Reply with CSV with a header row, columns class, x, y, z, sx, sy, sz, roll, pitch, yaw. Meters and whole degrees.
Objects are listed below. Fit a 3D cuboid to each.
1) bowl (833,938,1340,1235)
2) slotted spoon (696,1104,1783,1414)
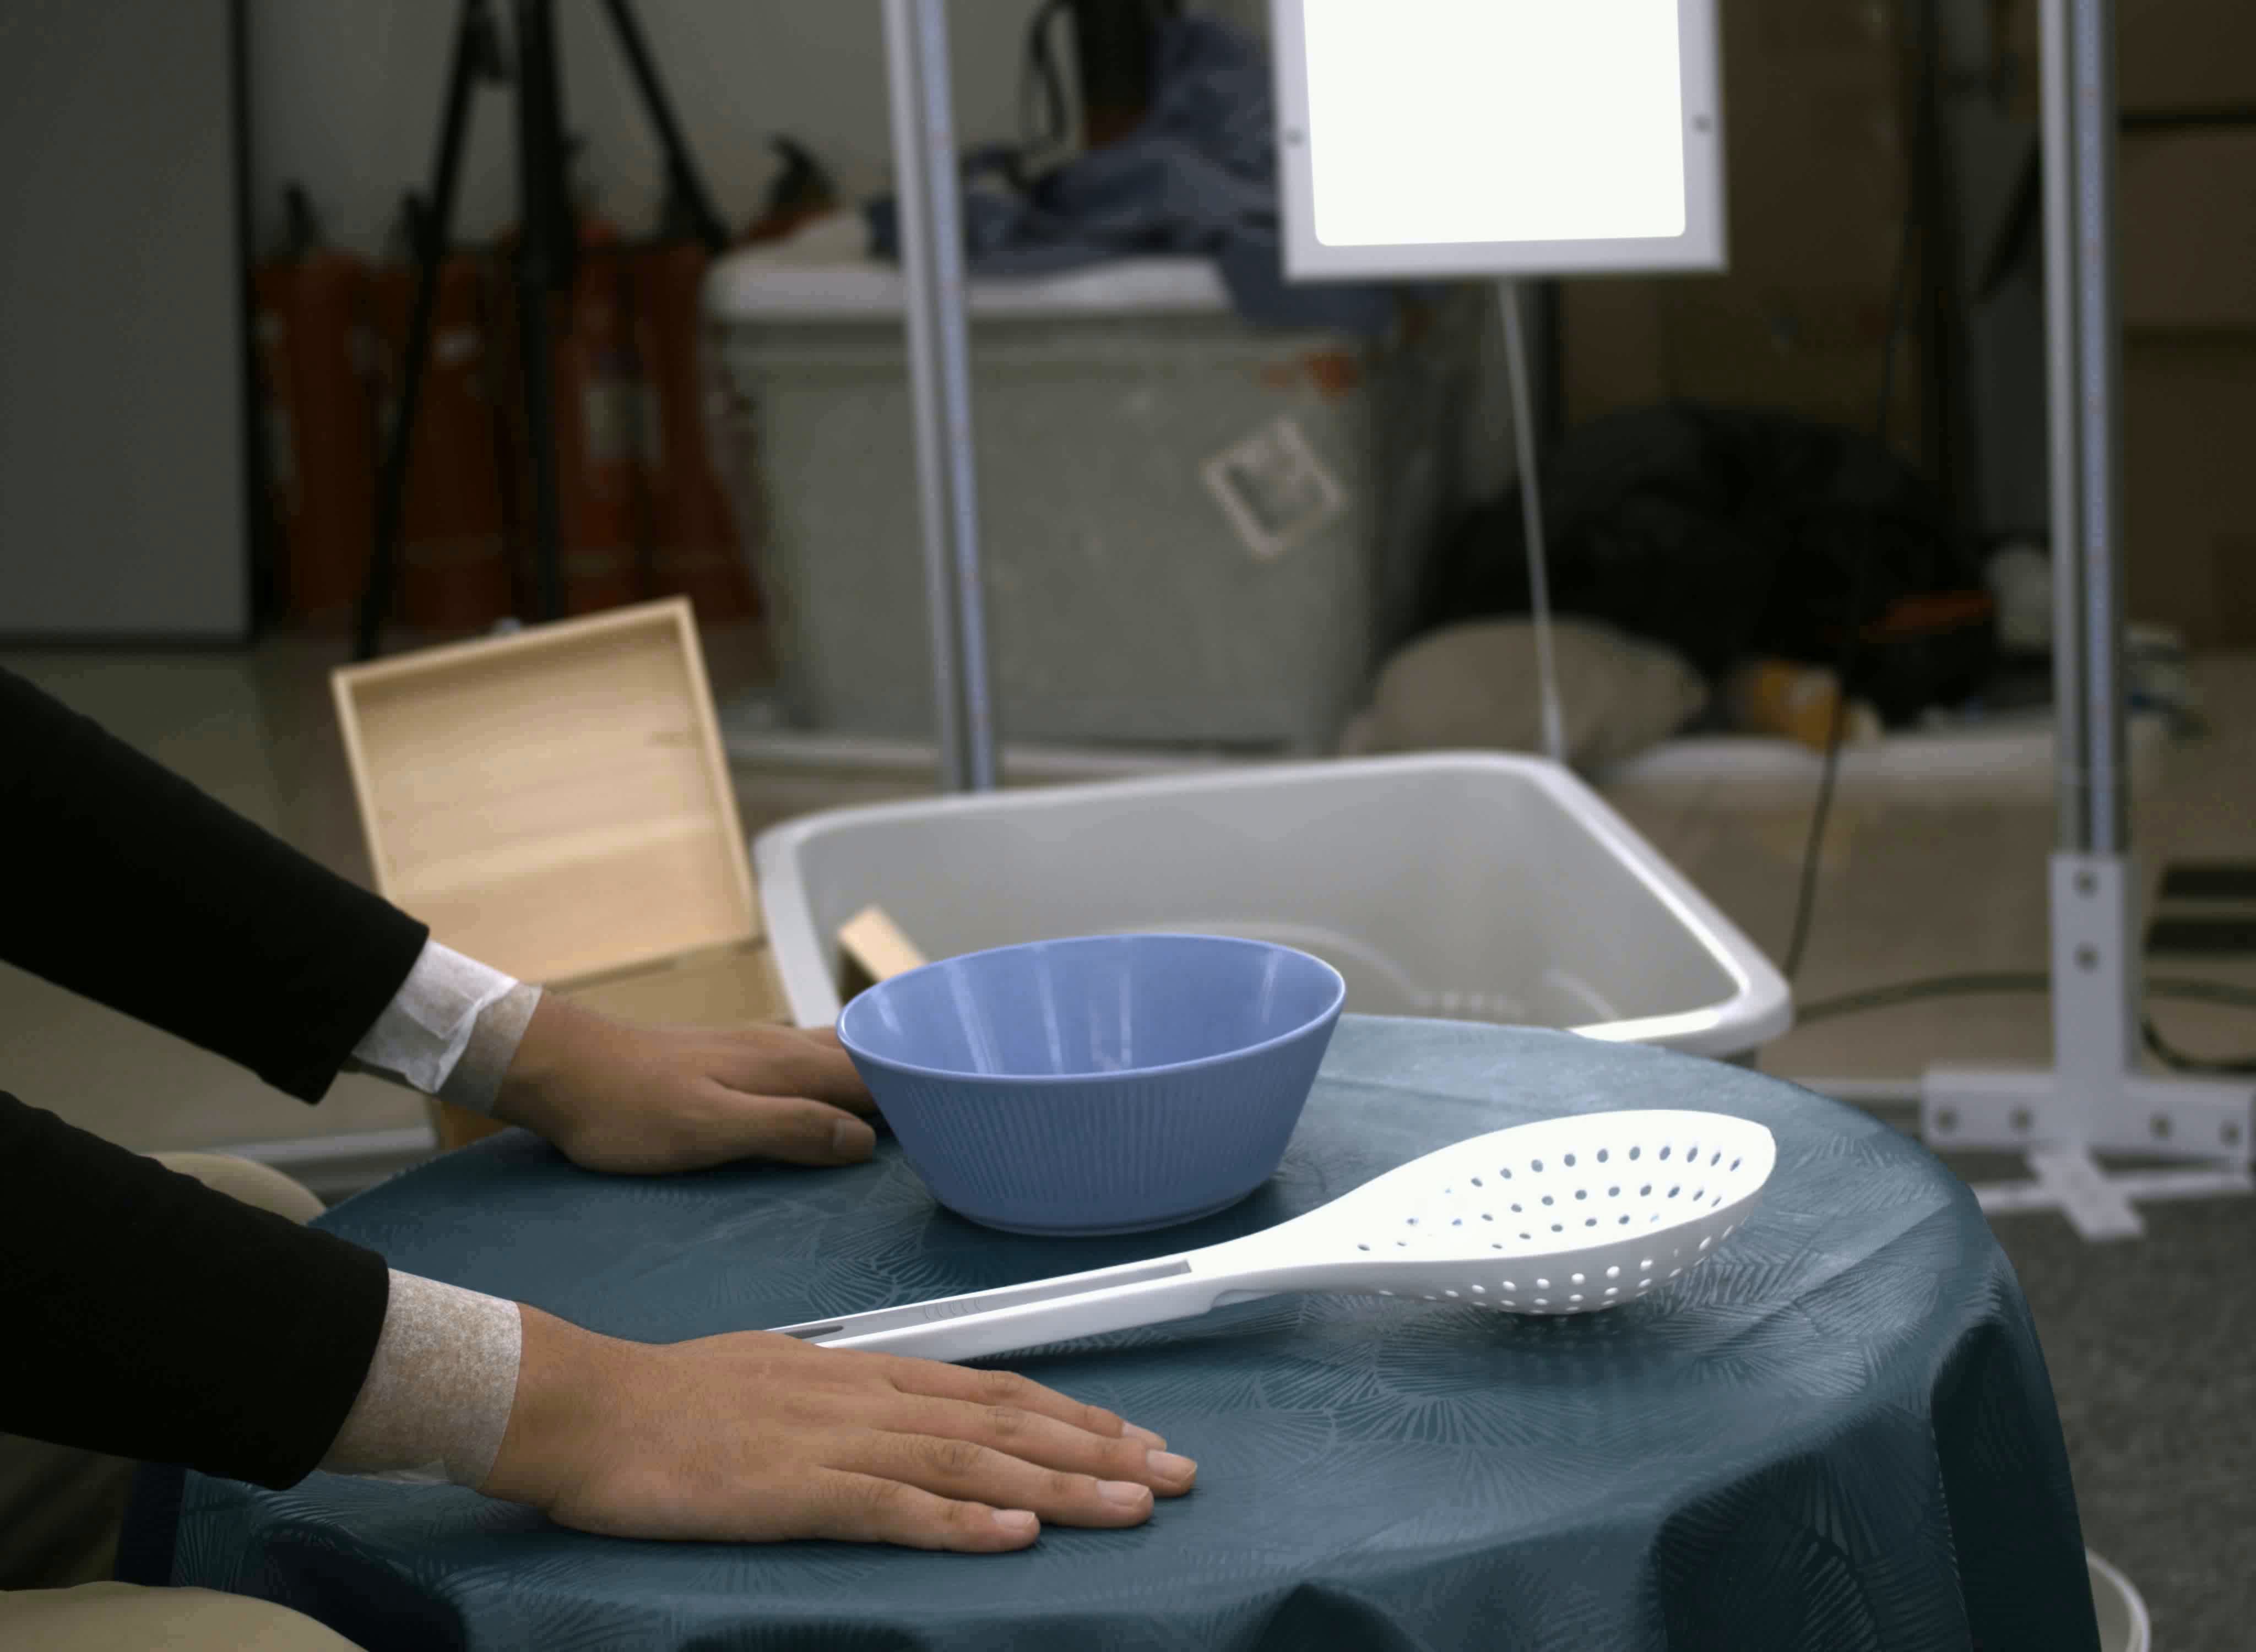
class,x,y,z,sx,sy,sz,roll,pitch,yaw
bowl,-0.012,0.092,1.896,0.175,0.070,0.176,-6,14,0
slotted spoon,0.036,0.140,1.734,0.347,0.046,0.136,-7,14,-4
